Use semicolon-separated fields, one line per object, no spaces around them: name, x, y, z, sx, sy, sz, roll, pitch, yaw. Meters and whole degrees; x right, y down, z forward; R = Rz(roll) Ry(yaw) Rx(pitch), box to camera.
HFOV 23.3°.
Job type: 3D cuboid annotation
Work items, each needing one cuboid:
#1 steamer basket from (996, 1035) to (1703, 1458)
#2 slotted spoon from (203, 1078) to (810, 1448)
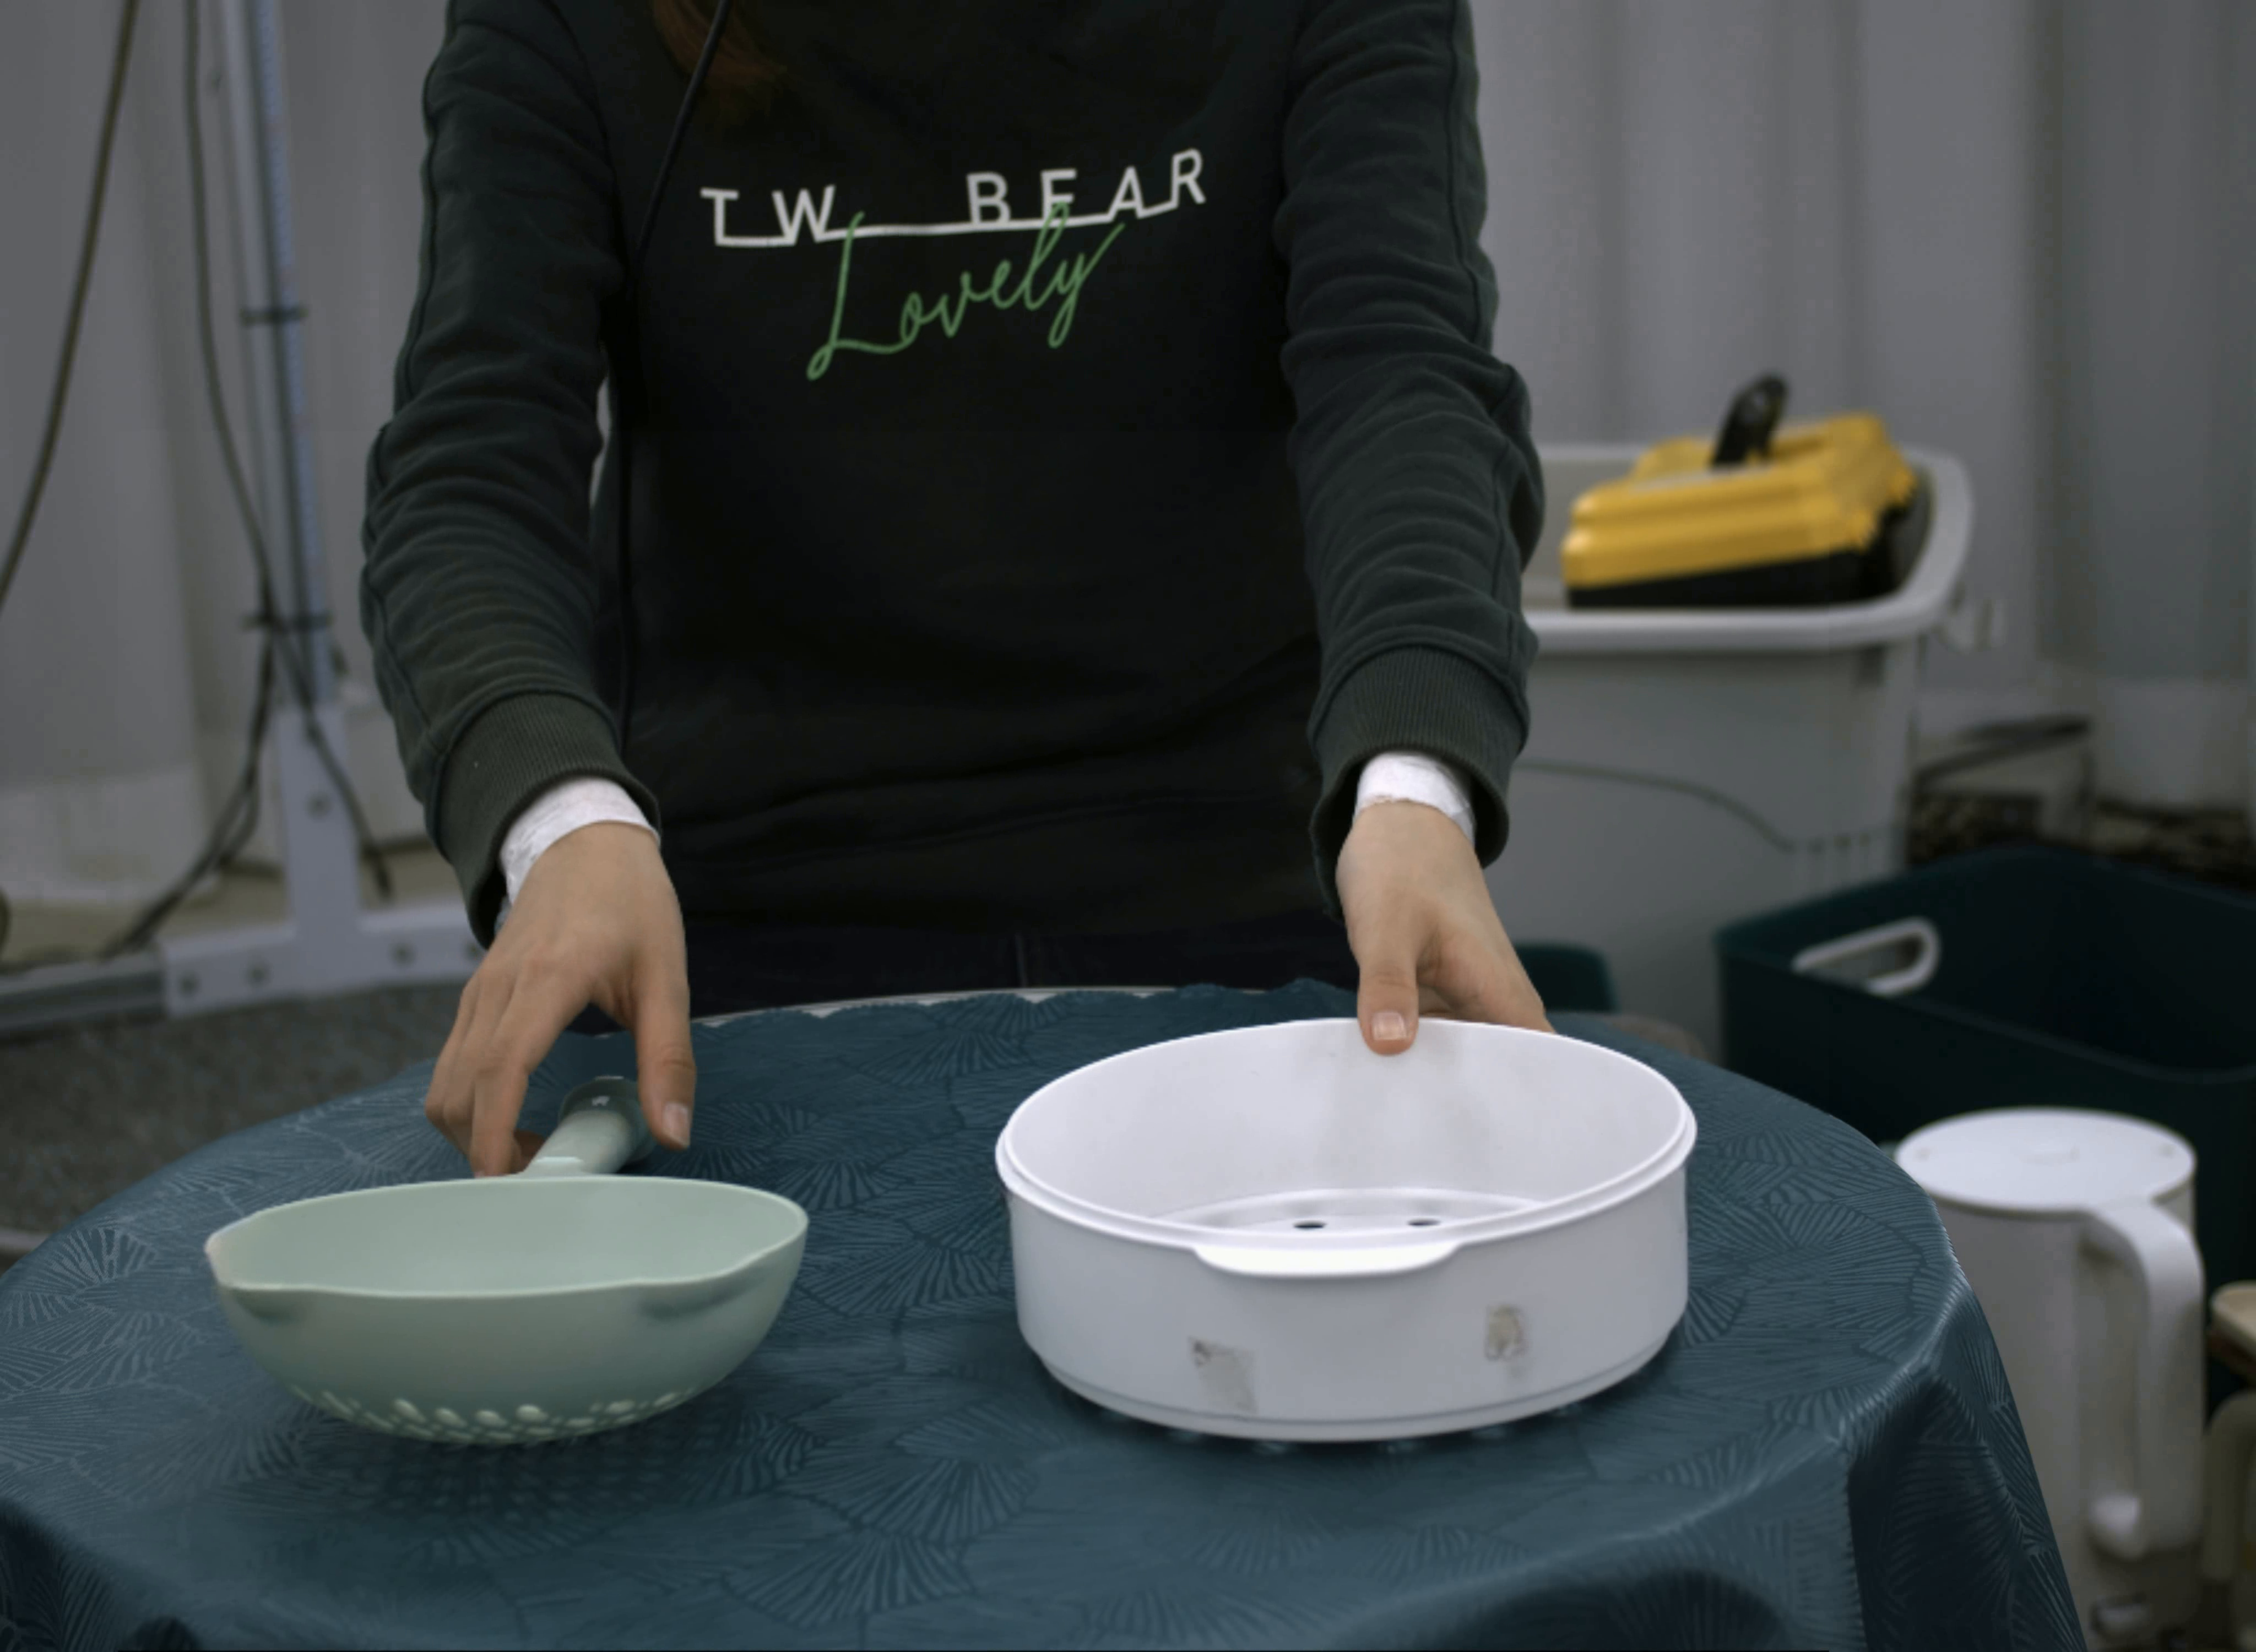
steamer basket;0.064;0.119;1.563;0.201;0.069;0.232;-1;14;5
slotted spoon;-0.170;0.114;1.626;0.169;0.075;0.361;0;15;2
